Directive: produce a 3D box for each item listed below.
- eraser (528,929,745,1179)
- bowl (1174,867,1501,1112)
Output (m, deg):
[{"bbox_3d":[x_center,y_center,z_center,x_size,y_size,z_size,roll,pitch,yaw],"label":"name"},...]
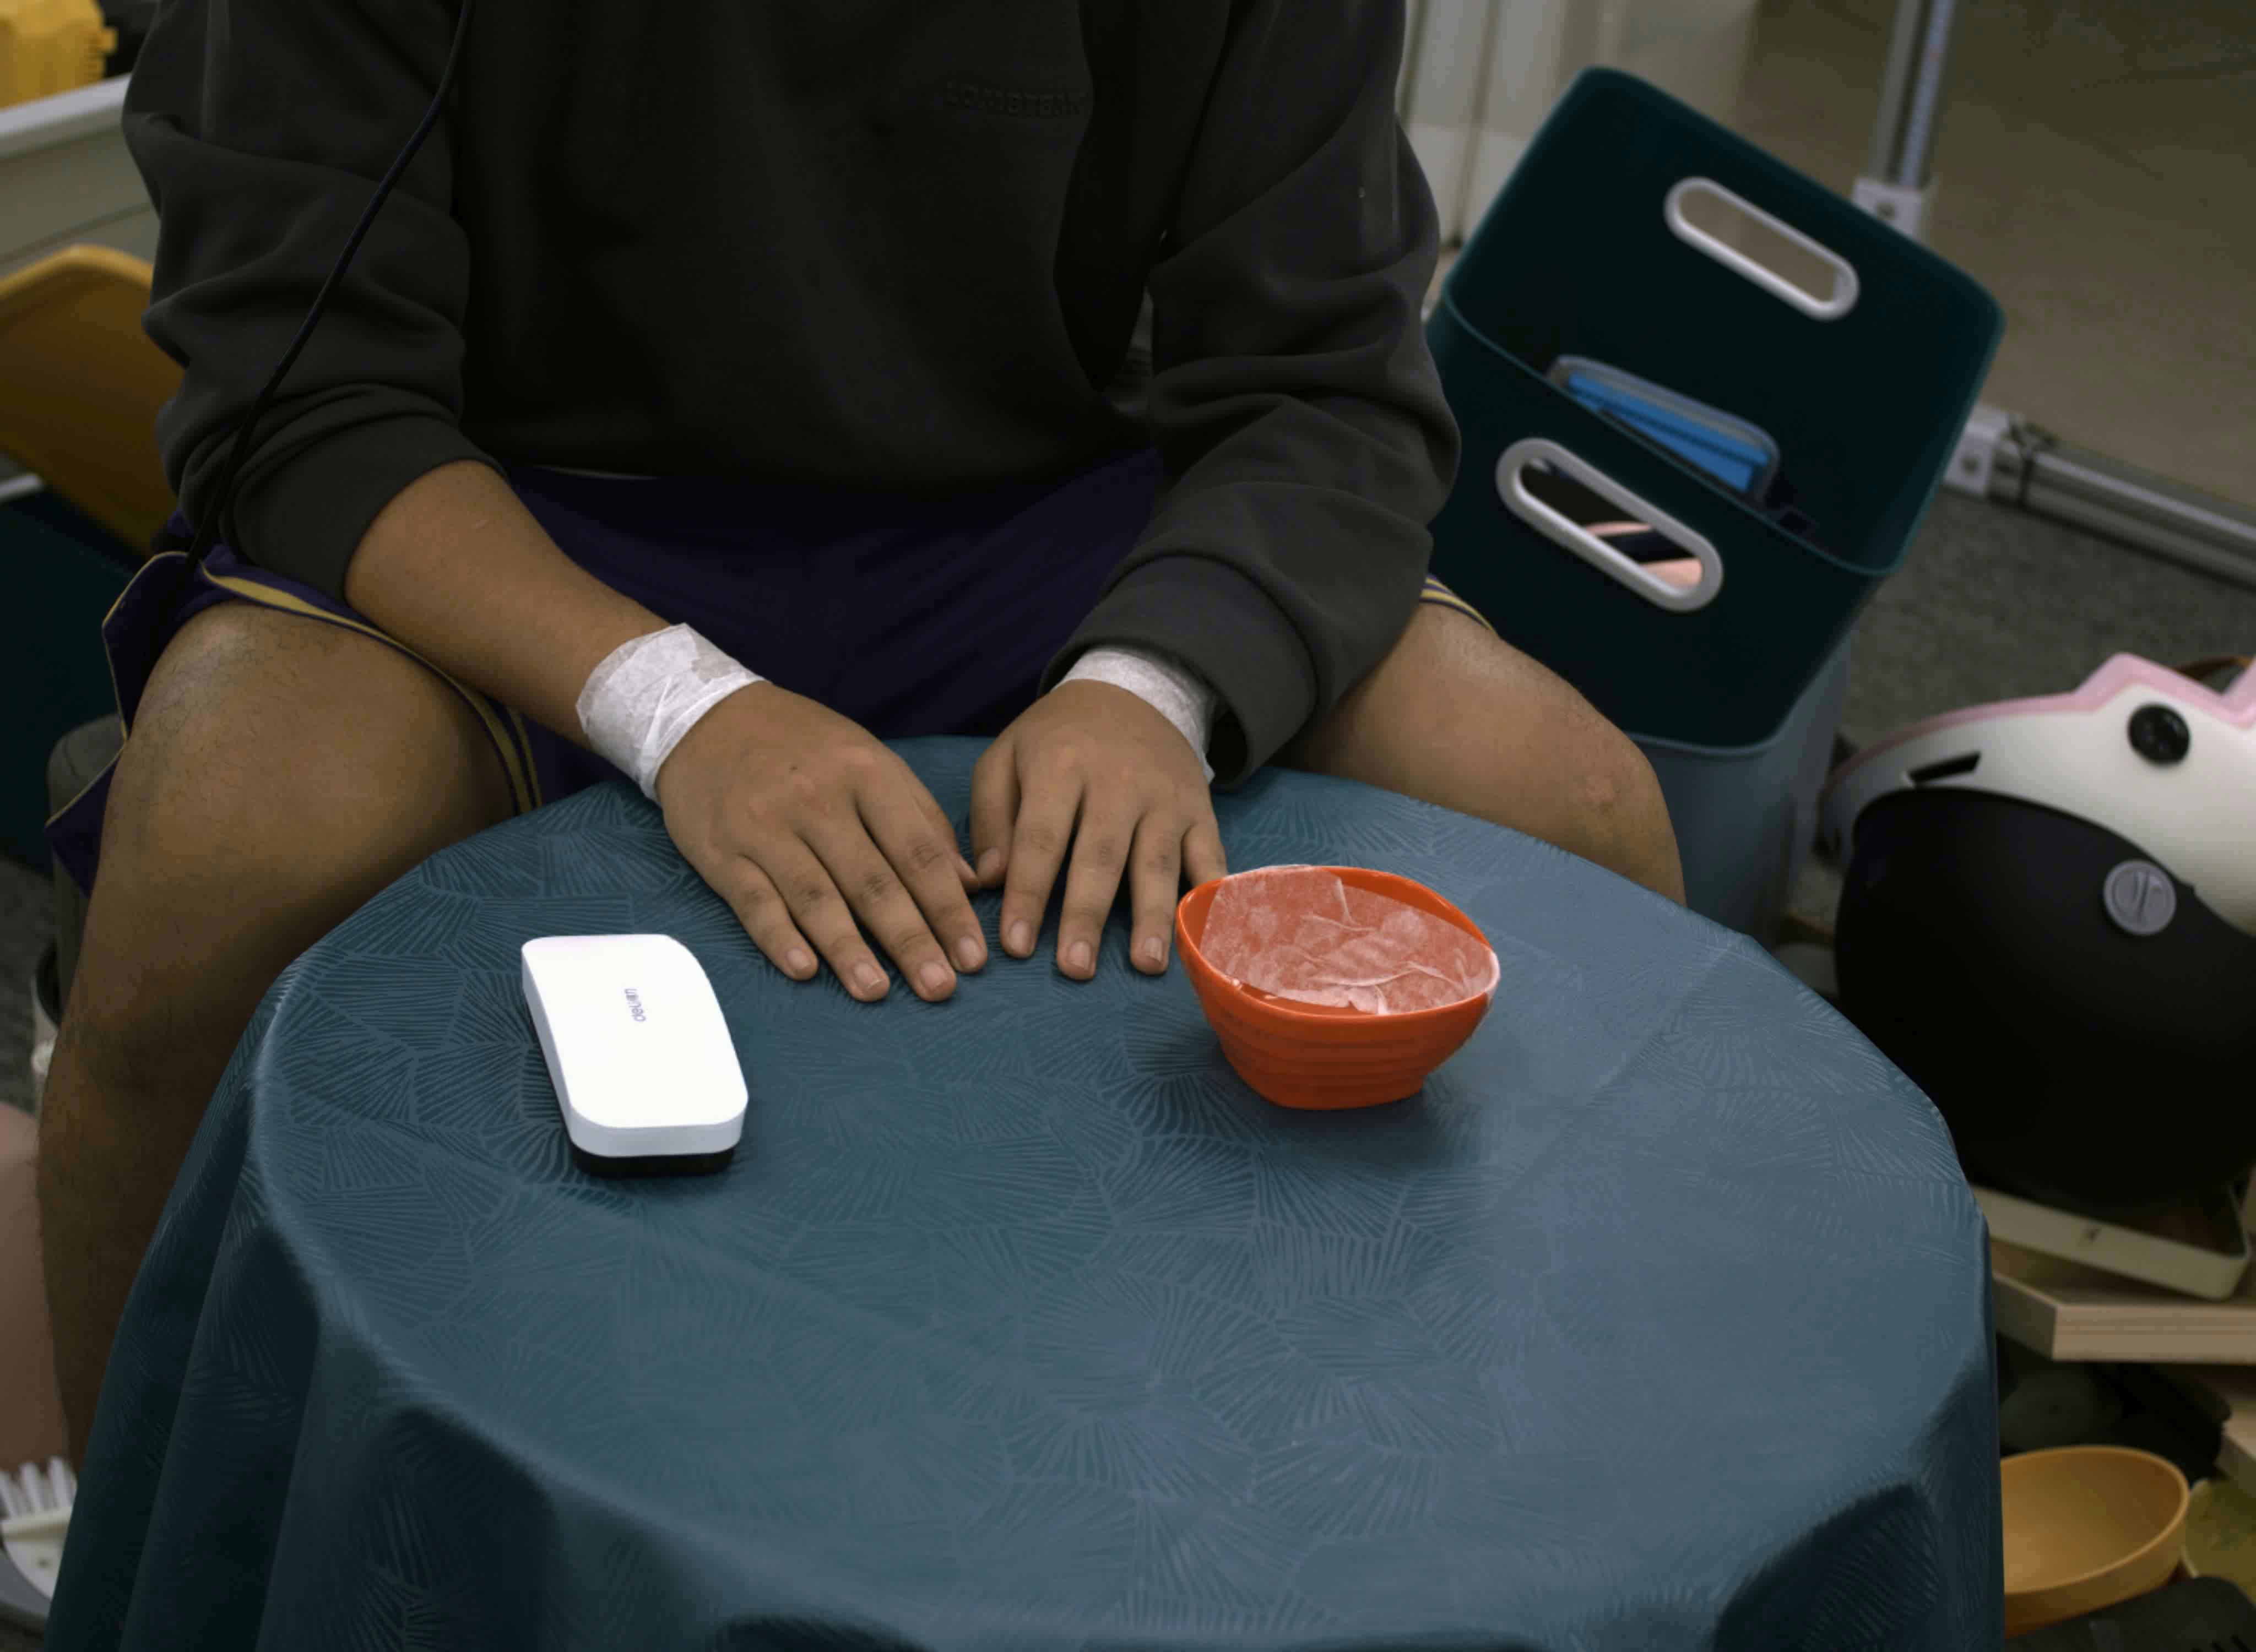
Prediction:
[{"bbox_3d":[-0.169,0.074,1.824,0.063,0.034,0.132,1,29,-14],"label":"eraser"},{"bbox_3d":[0.071,0.062,1.883,0.118,0.051,0.119,4,27,-2],"label":"bowl"}]
